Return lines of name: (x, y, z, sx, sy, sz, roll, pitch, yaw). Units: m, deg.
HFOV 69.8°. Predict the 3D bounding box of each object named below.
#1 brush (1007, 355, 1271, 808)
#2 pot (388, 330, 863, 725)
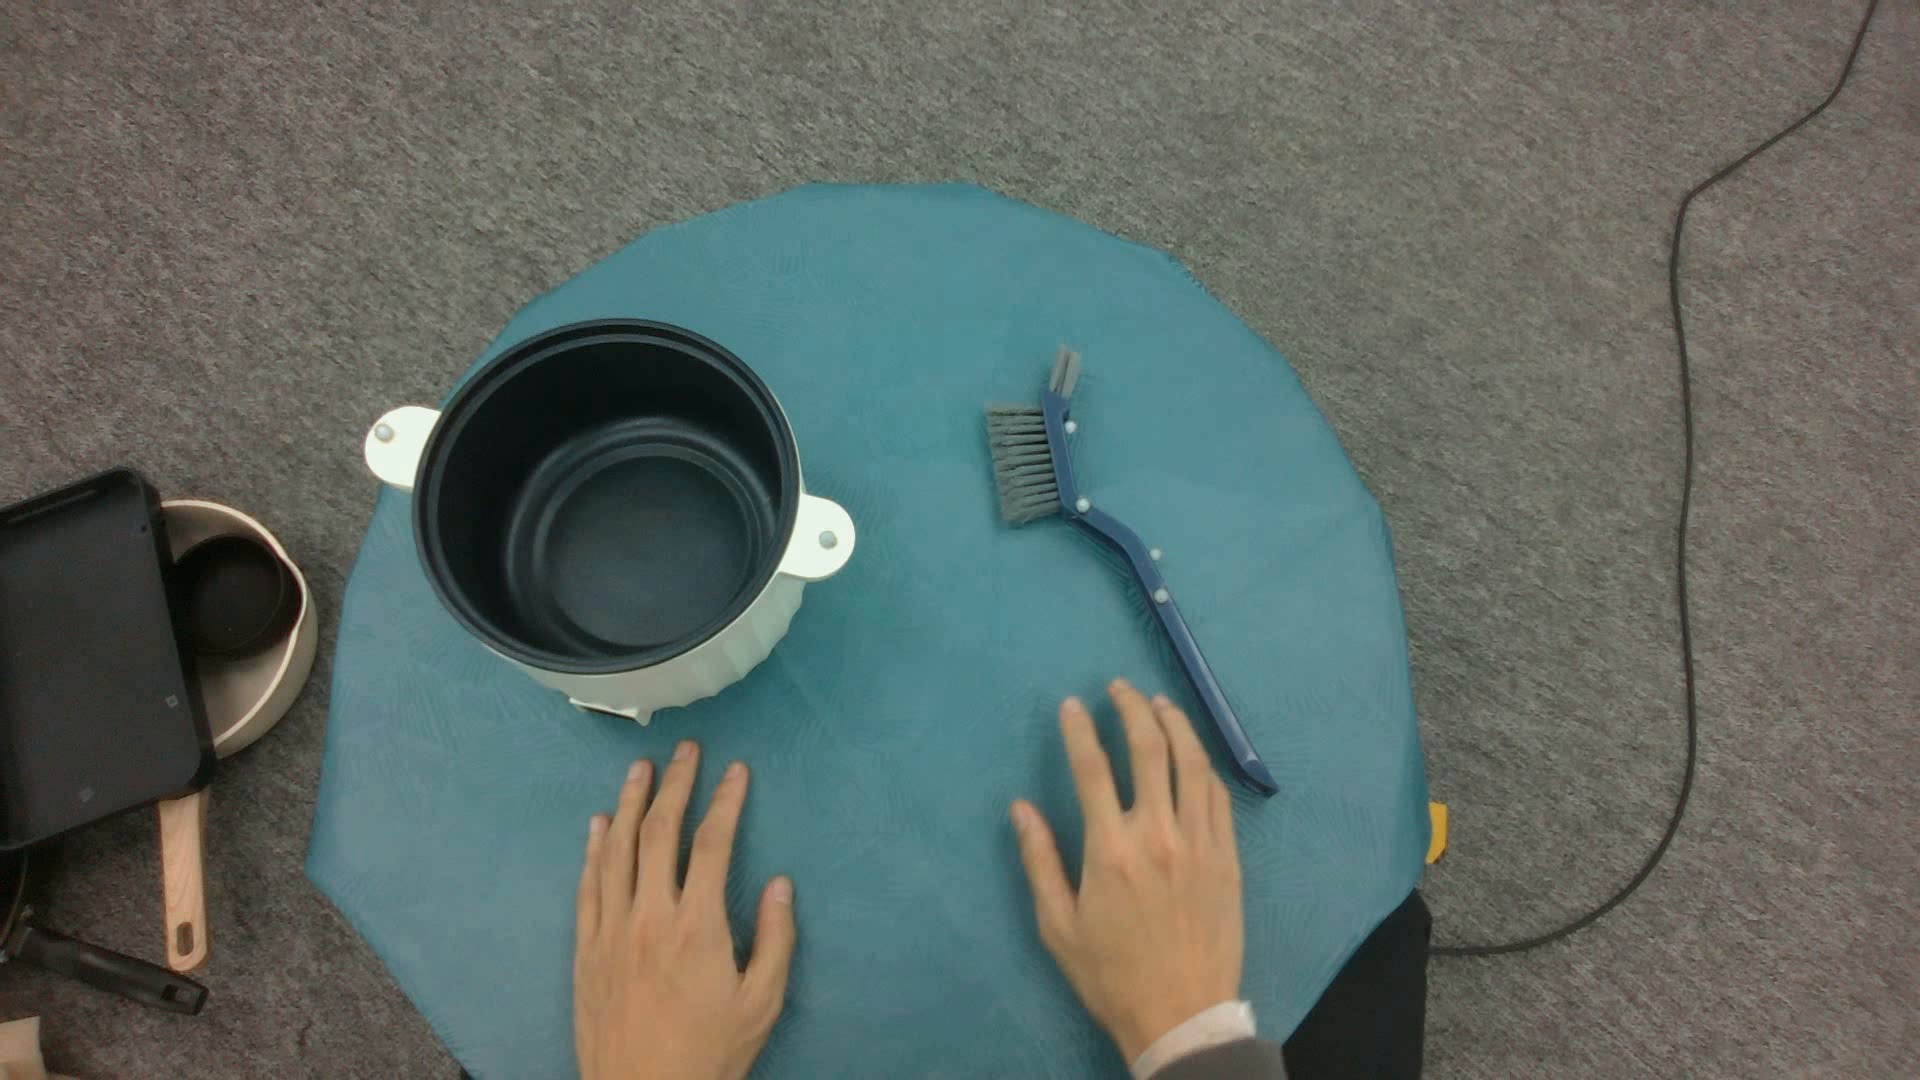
brush: (0.113, 0.019, 0.781, 0.096, 0.033, 0.273, -31, 72, -11)
pot: (-0.164, -0.006, 0.734, 0.240, 0.142, 0.191, 12, 75, 3)
